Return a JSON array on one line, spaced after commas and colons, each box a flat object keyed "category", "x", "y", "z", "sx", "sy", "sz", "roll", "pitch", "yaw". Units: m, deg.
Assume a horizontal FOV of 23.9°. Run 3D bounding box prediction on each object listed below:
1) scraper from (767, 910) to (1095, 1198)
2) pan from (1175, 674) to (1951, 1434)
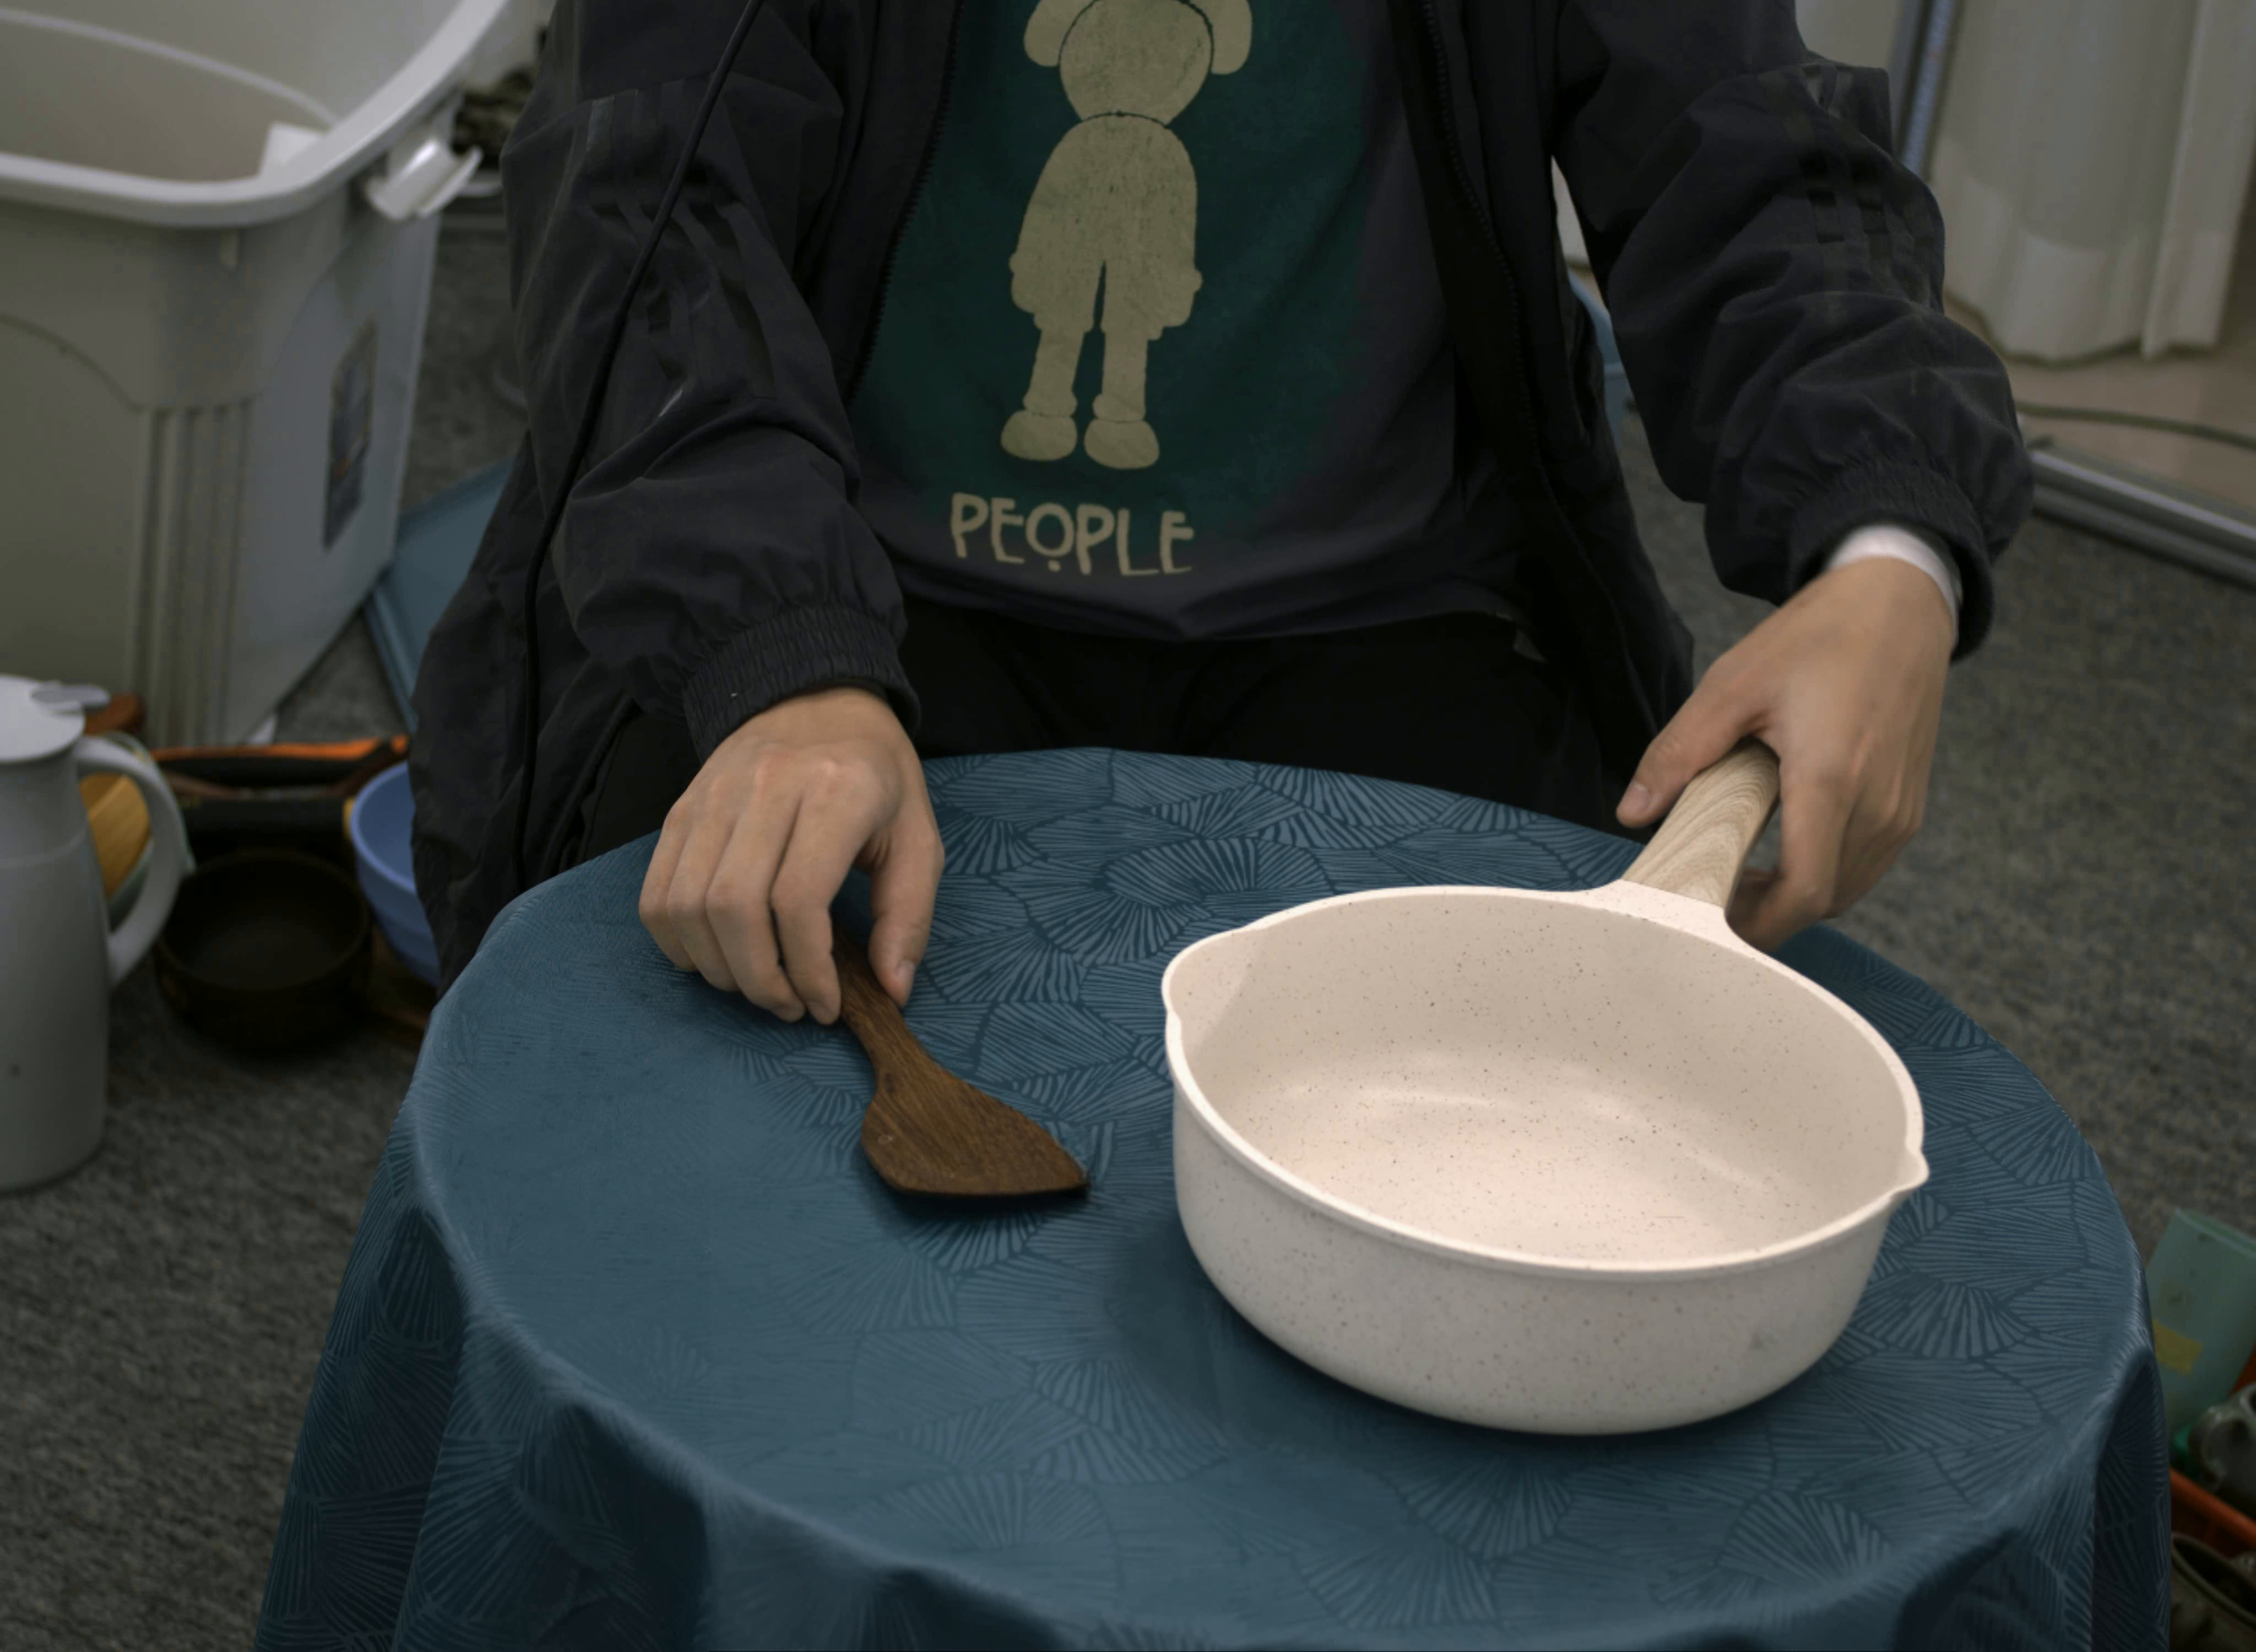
[{"category": "scraper", "x": -0.081, "y": 0.079, "z": 1.863, "sx": 0.075, "sy": 0.011, "sz": 0.213, "roll": 0, "pitch": 26, "yaw": -25}, {"category": "pan", "x": 0.172, "y": 0.073, "z": 1.836, "sx": 0.264, "sy": 0.101, "sz": 0.435, "roll": 14, "pitch": 27, "yaw": 17}]
